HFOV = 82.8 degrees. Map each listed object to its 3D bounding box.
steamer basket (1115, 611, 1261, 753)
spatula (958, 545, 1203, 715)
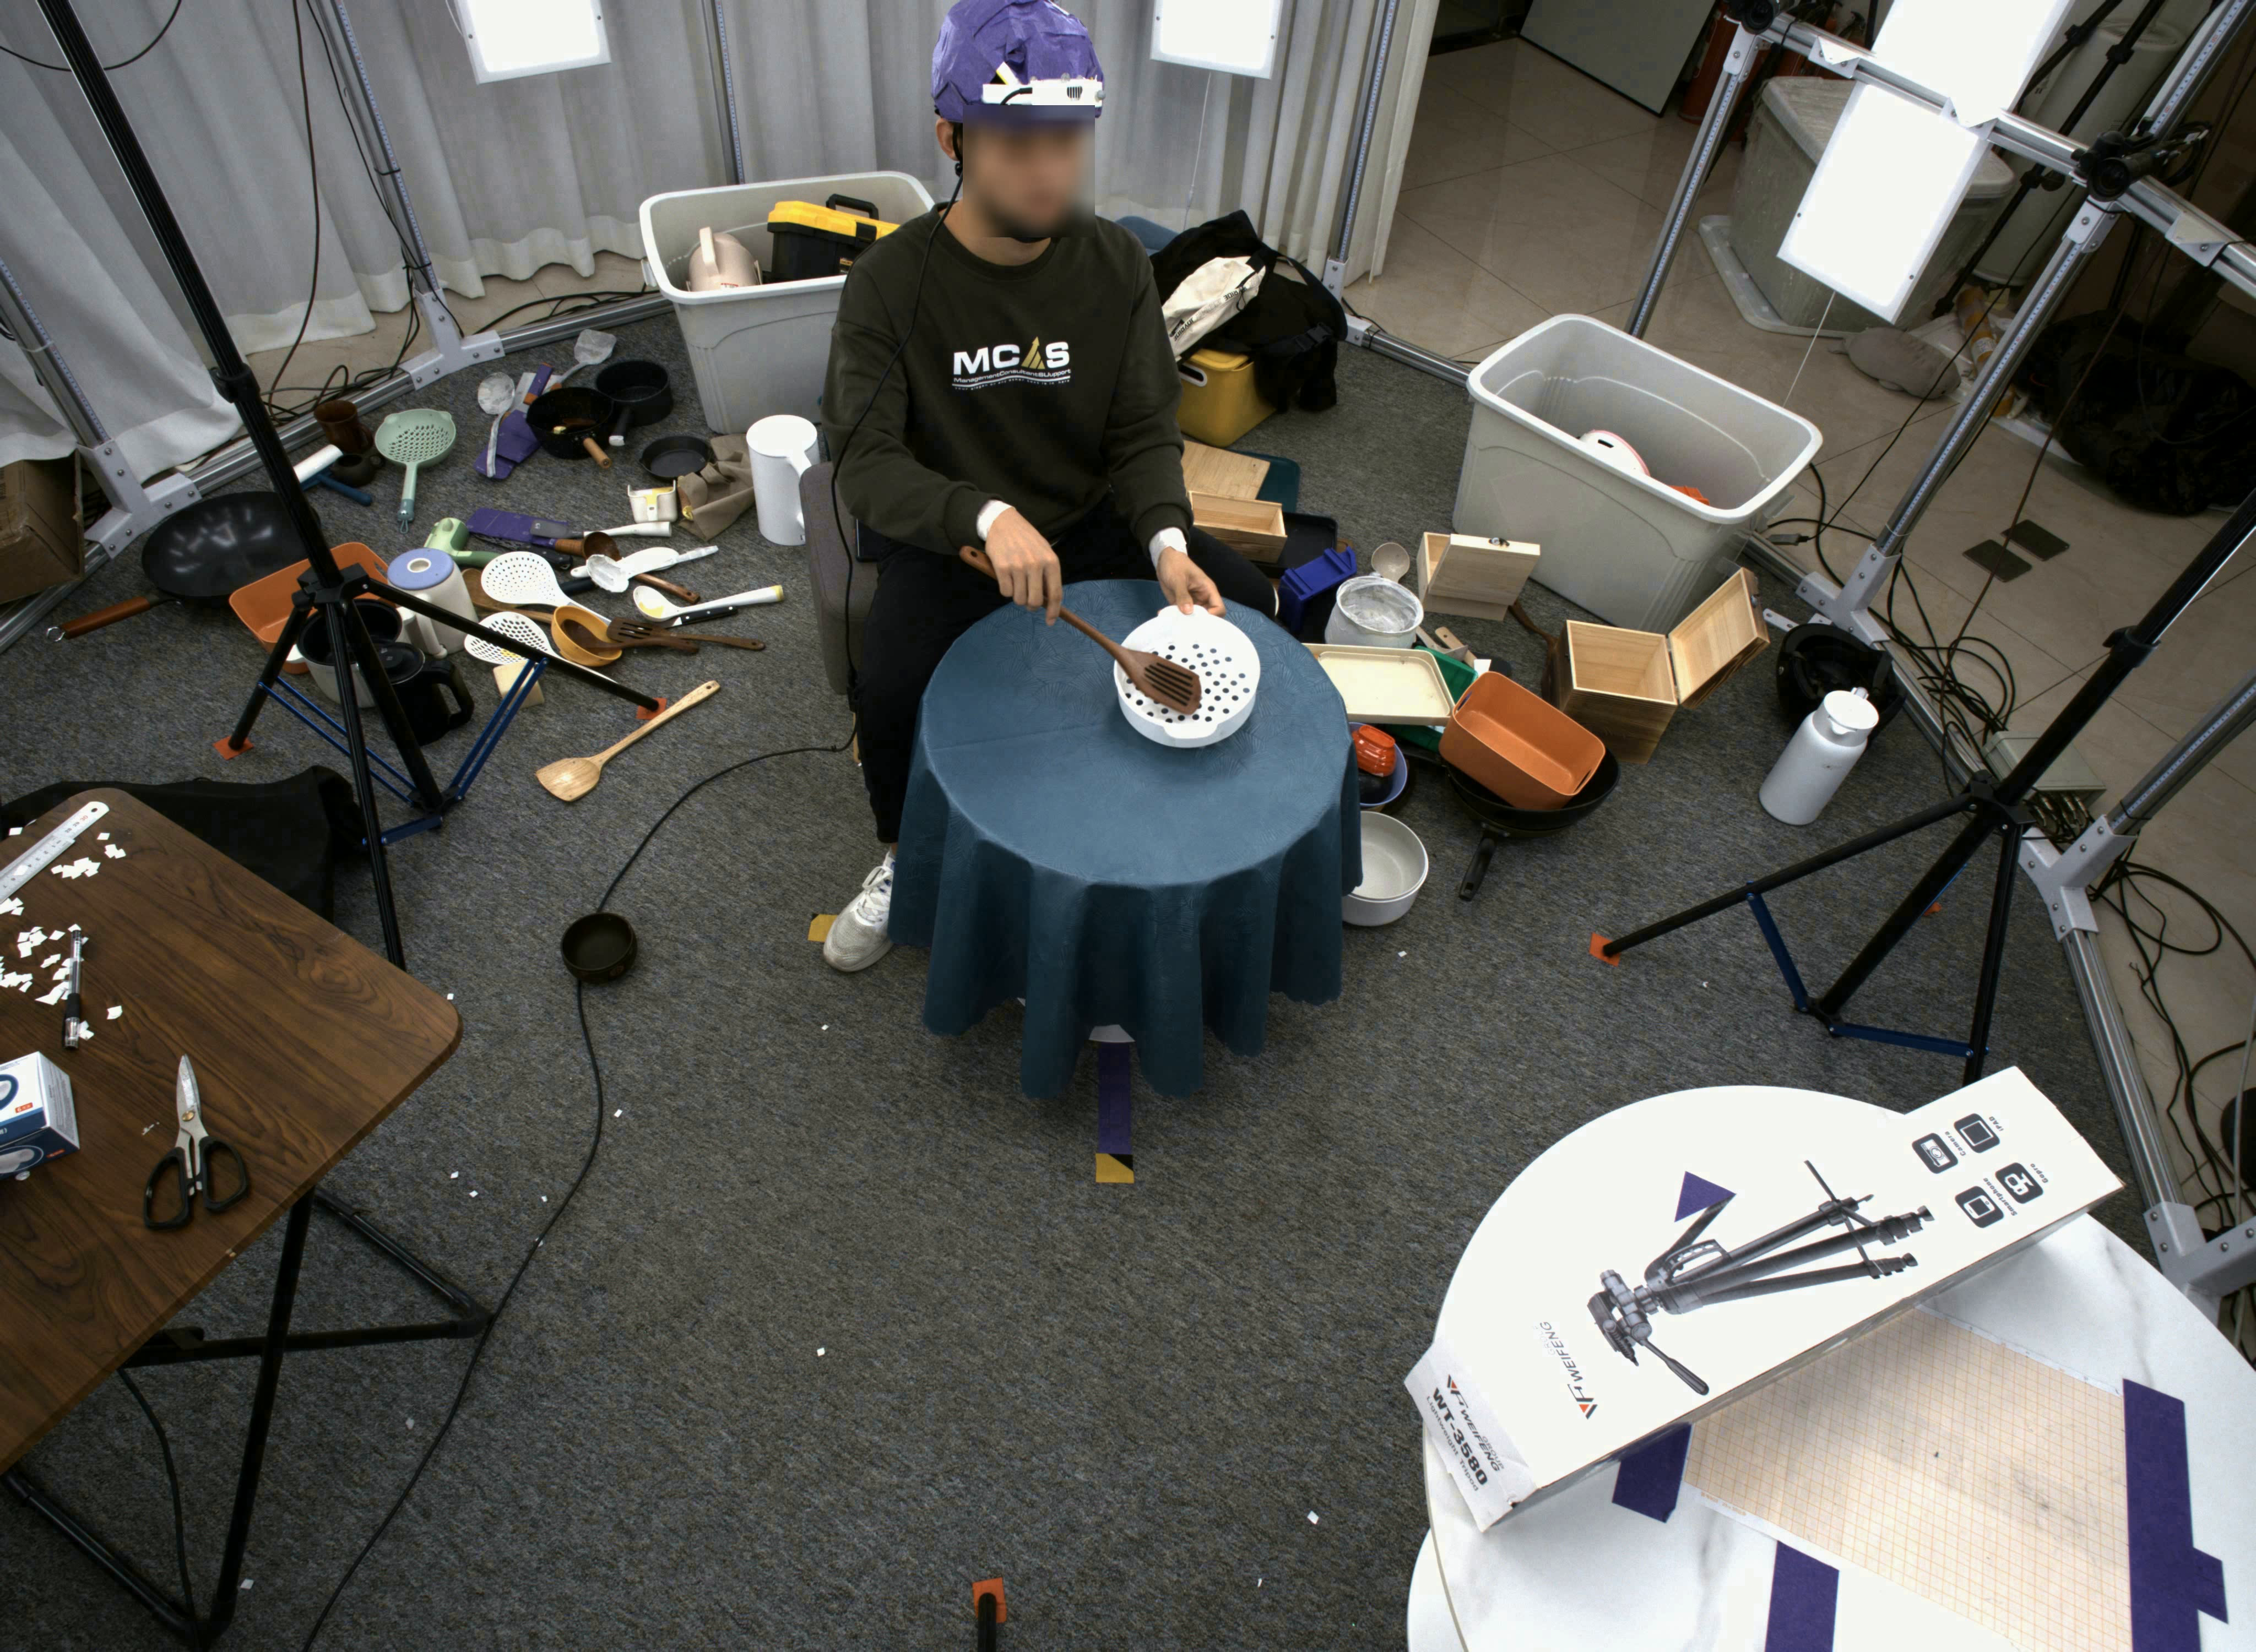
[{"bbox_3d":[0.083,-0.196,1.788,0.202,0.067,0.236,-2,55,1],"label":"steamer basket"},{"bbox_3d":[-0.060,-0.264,1.718,0.381,0.023,0.088,30,48,-19],"label":"spatula"}]
